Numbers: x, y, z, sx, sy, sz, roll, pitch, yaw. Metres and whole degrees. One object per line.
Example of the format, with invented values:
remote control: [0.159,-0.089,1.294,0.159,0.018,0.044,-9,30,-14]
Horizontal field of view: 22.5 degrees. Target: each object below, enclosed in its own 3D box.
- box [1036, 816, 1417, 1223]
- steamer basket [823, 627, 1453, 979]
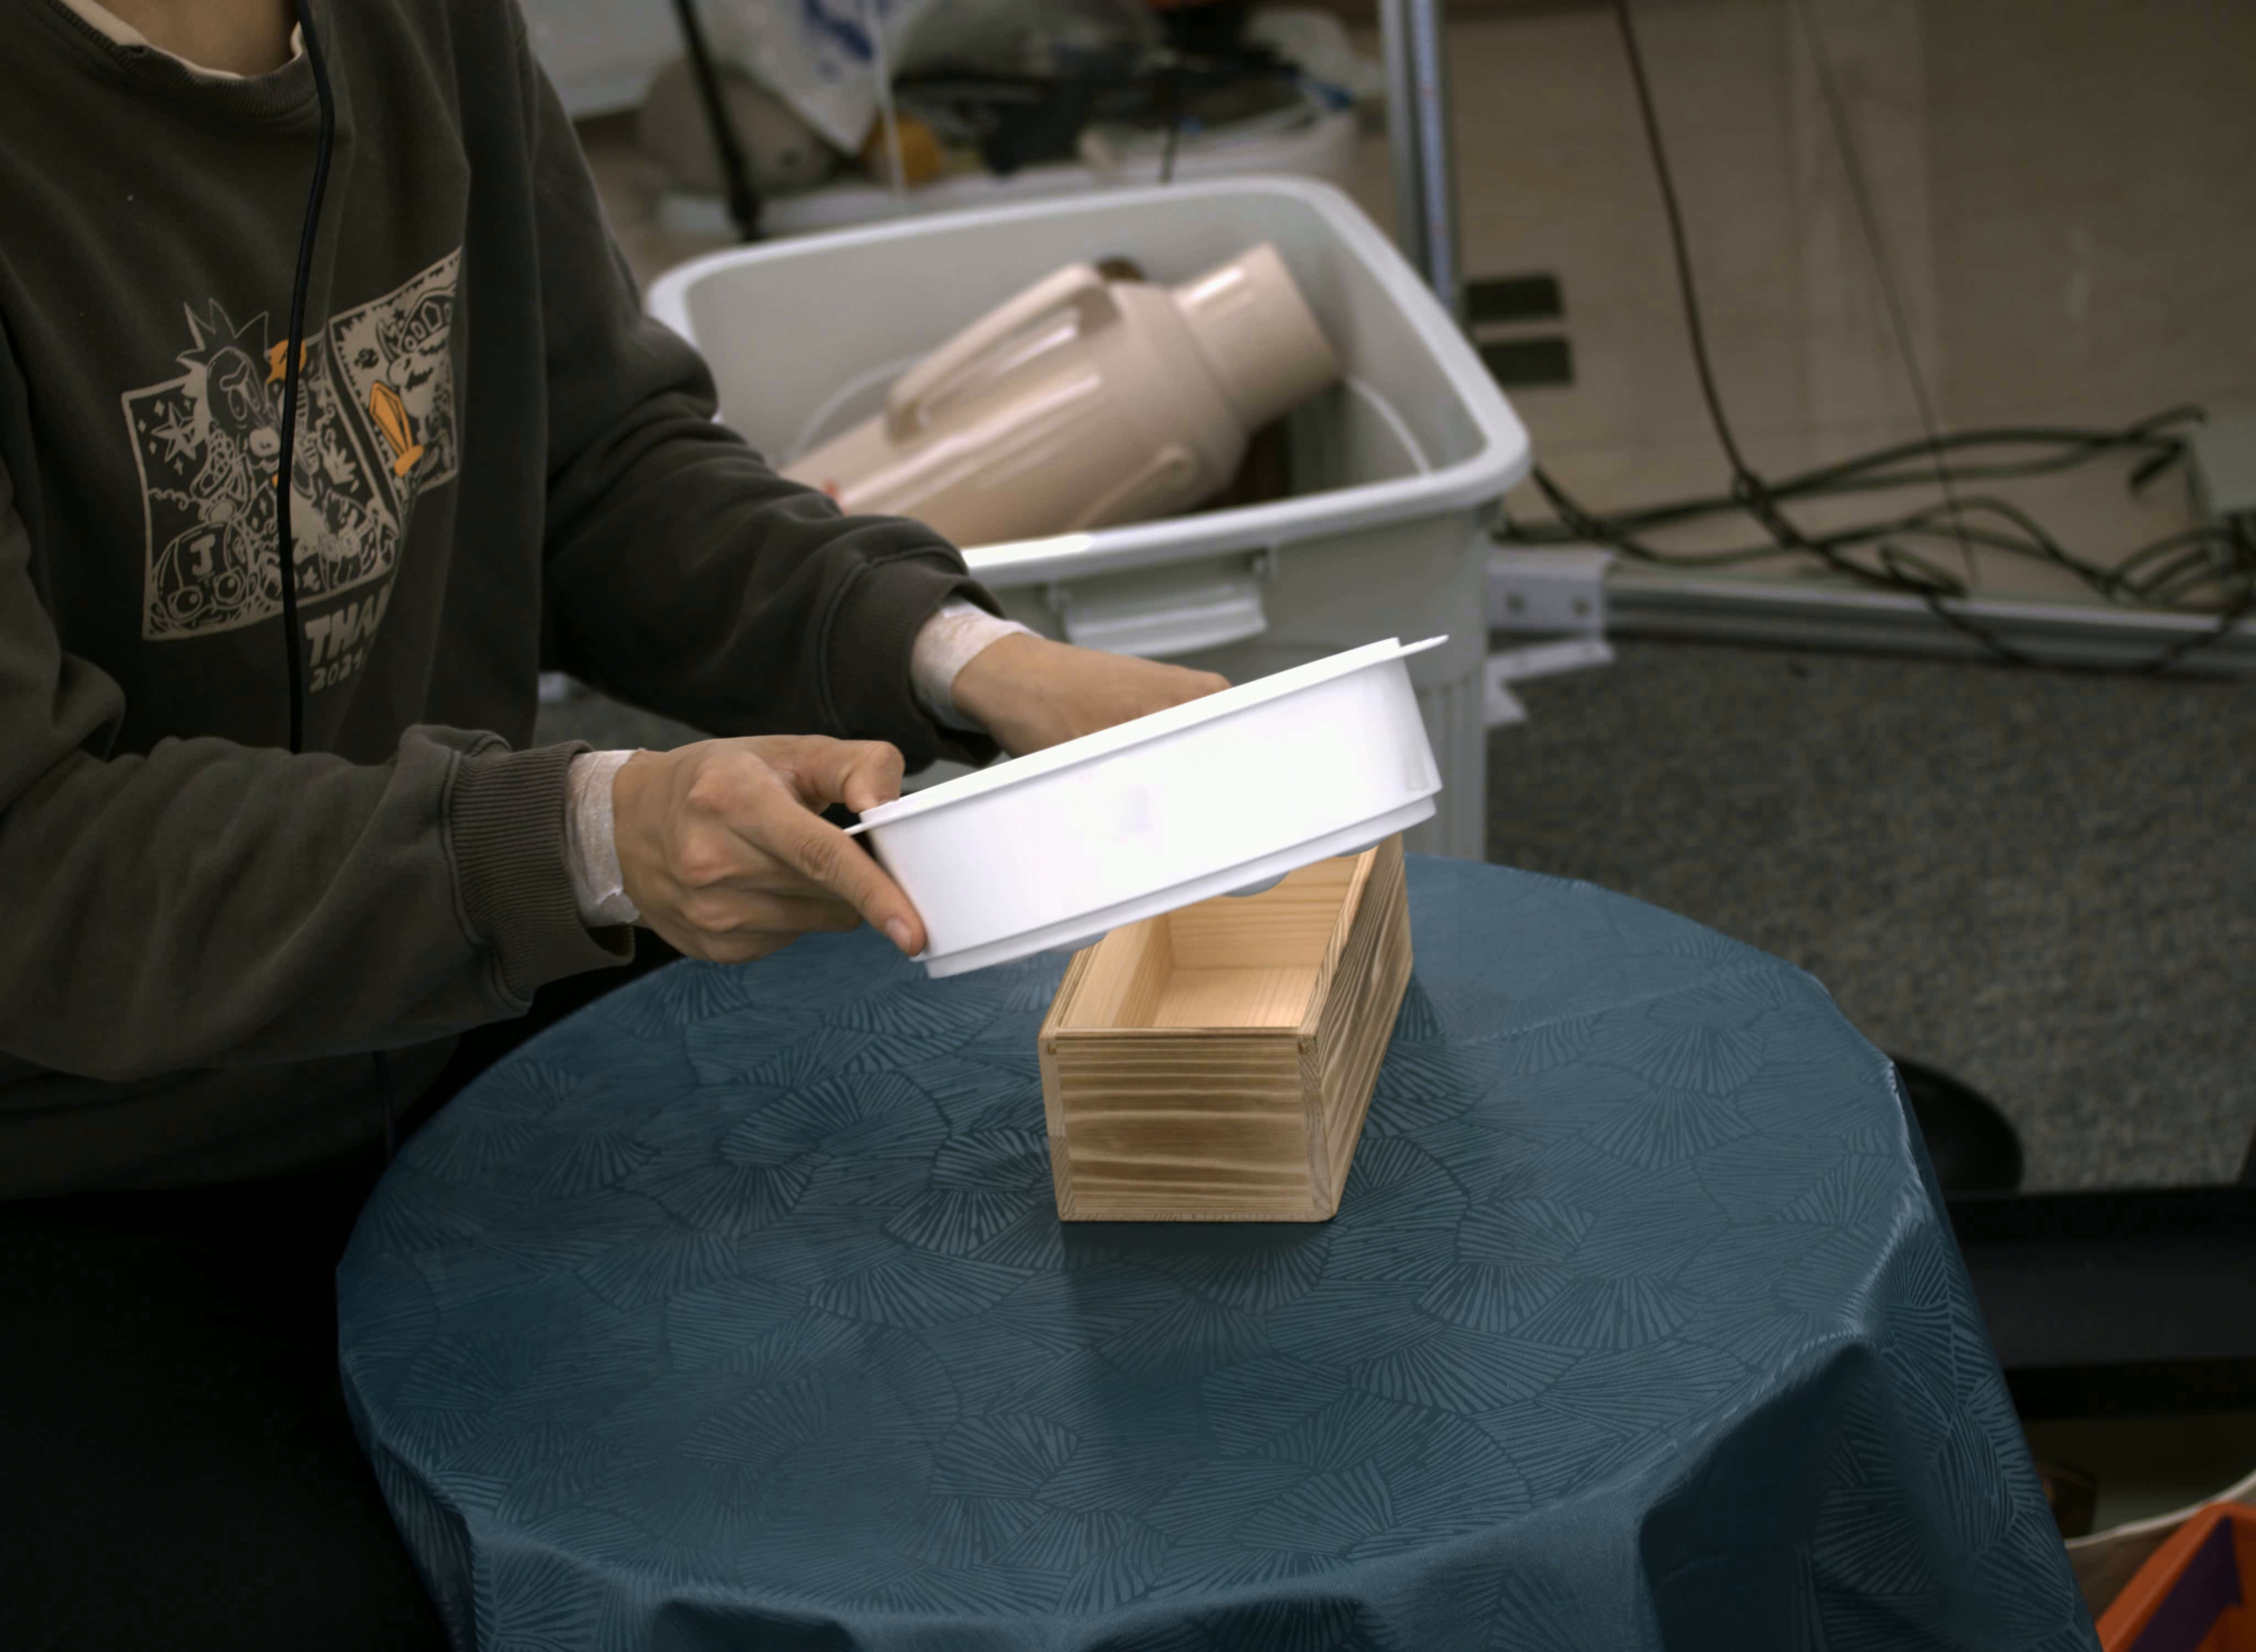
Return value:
box: [0.041,0.068,2.193,0.107,0.081,0.208,-1,26,13]
steamer basket: [0.012,-0.005,1.954,0.230,0.069,0.201,-19,1,9]
